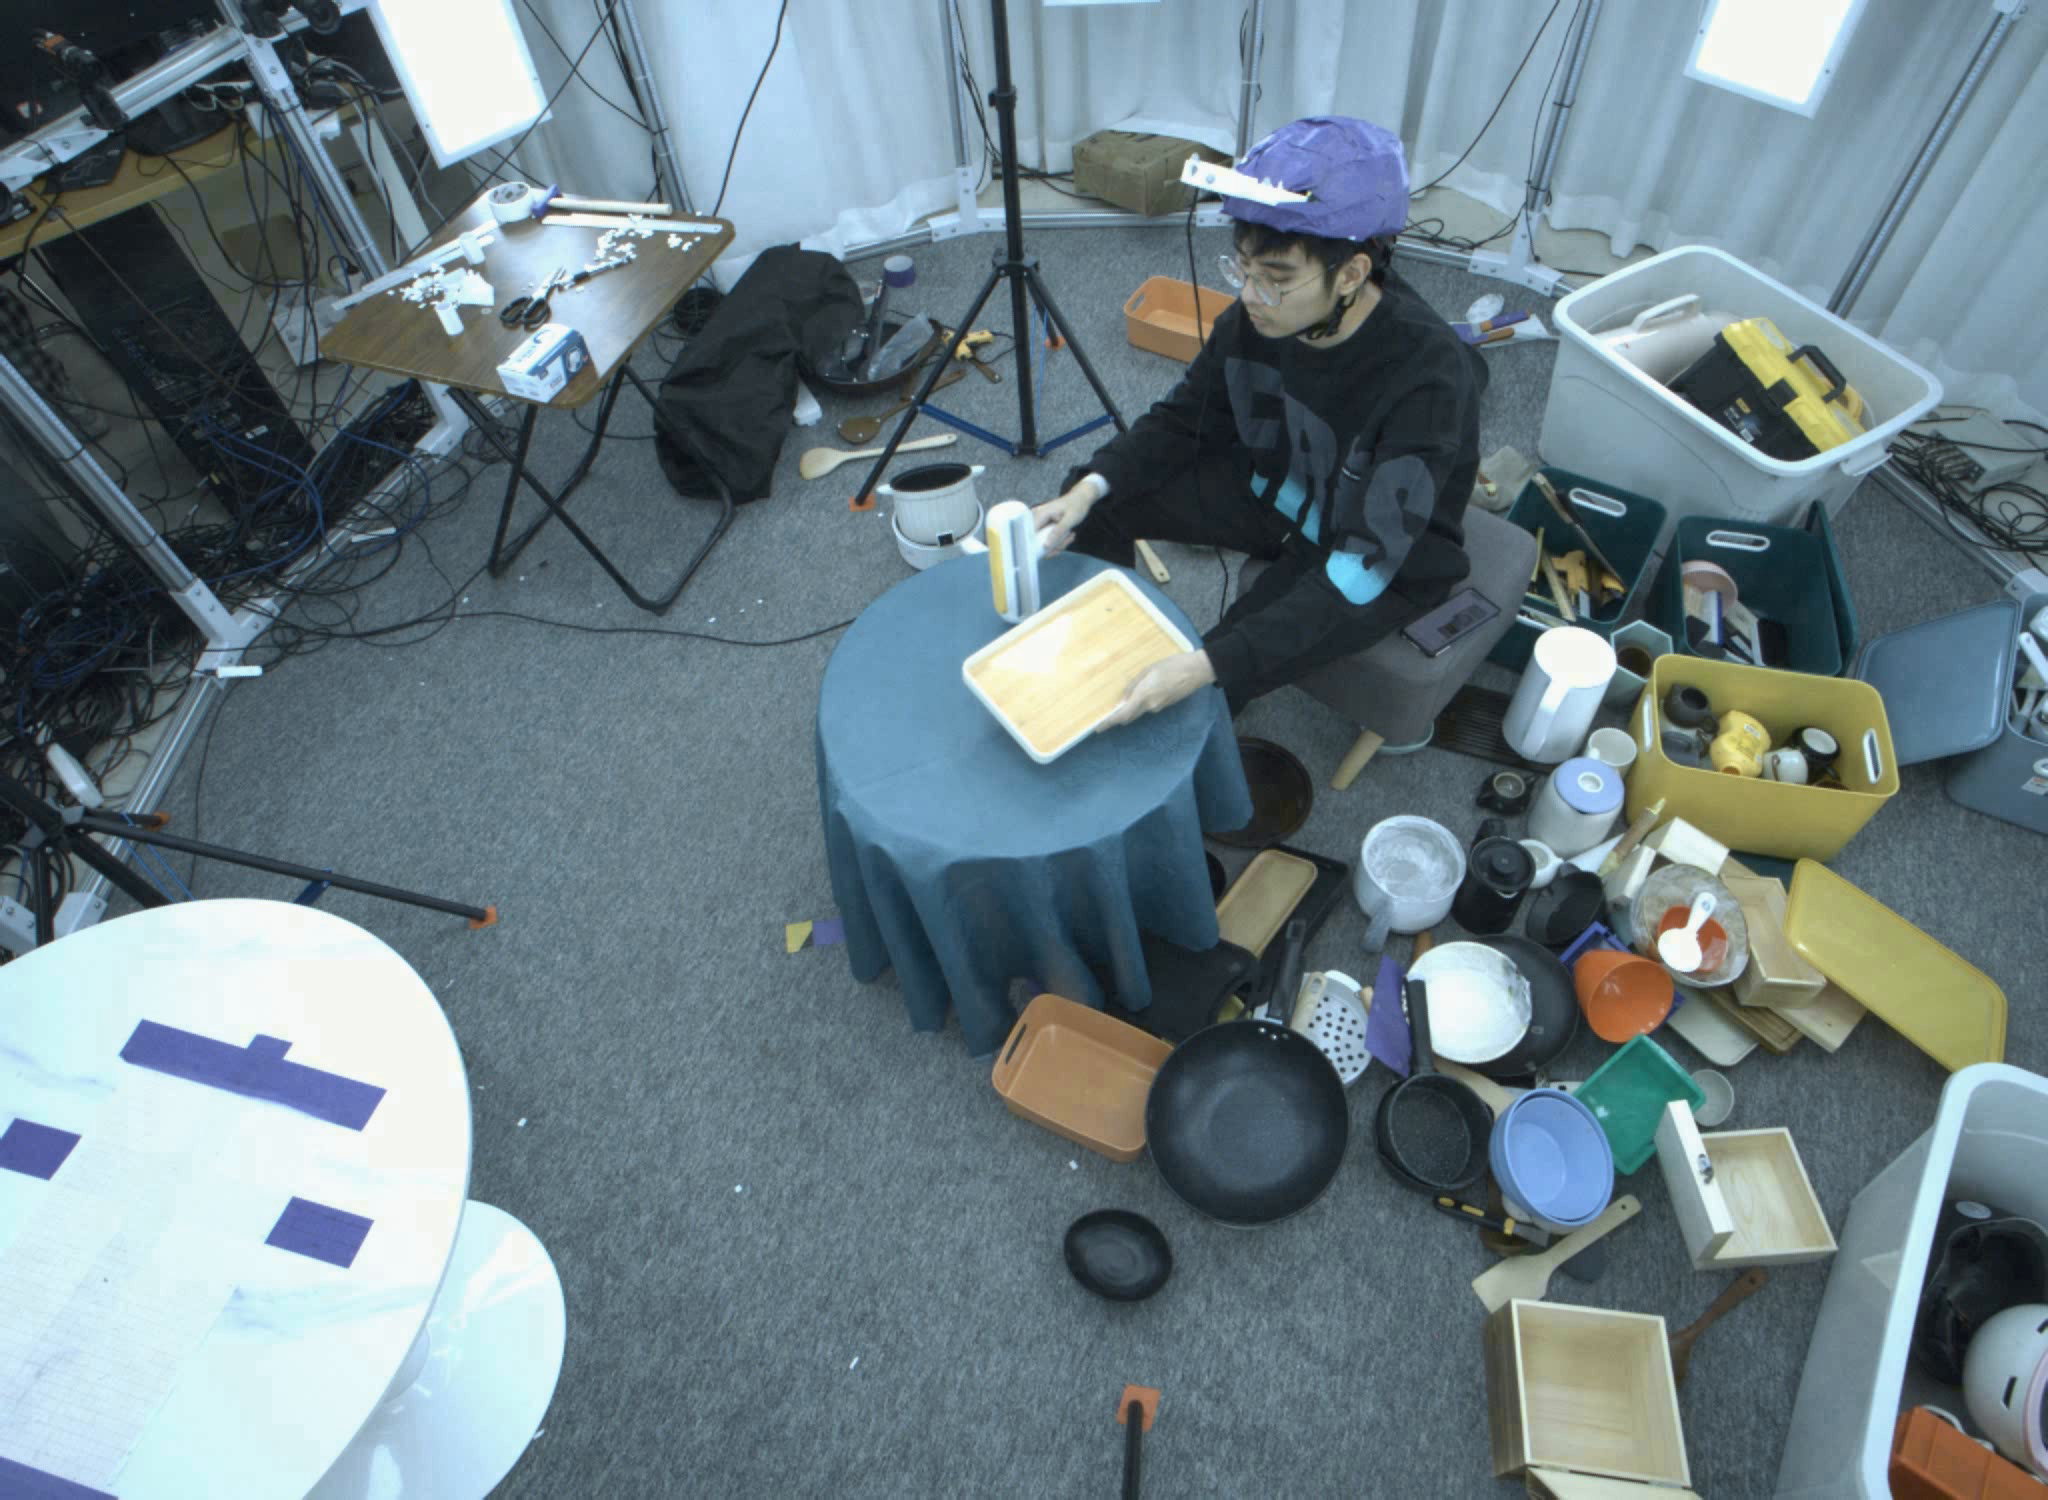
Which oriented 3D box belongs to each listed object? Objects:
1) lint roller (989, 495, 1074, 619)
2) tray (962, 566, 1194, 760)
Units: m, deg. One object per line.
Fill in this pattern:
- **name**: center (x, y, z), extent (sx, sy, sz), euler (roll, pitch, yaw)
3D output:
- **lint roller**: center (0.022, -0.315, 1.893), extent (0.072, 0.195, 0.195), euler (23, 40, 38)
- **tray**: center (0.079, -0.130, 1.766), extent (0.303, 0.027, 0.189), euler (-34, 74, -23)
